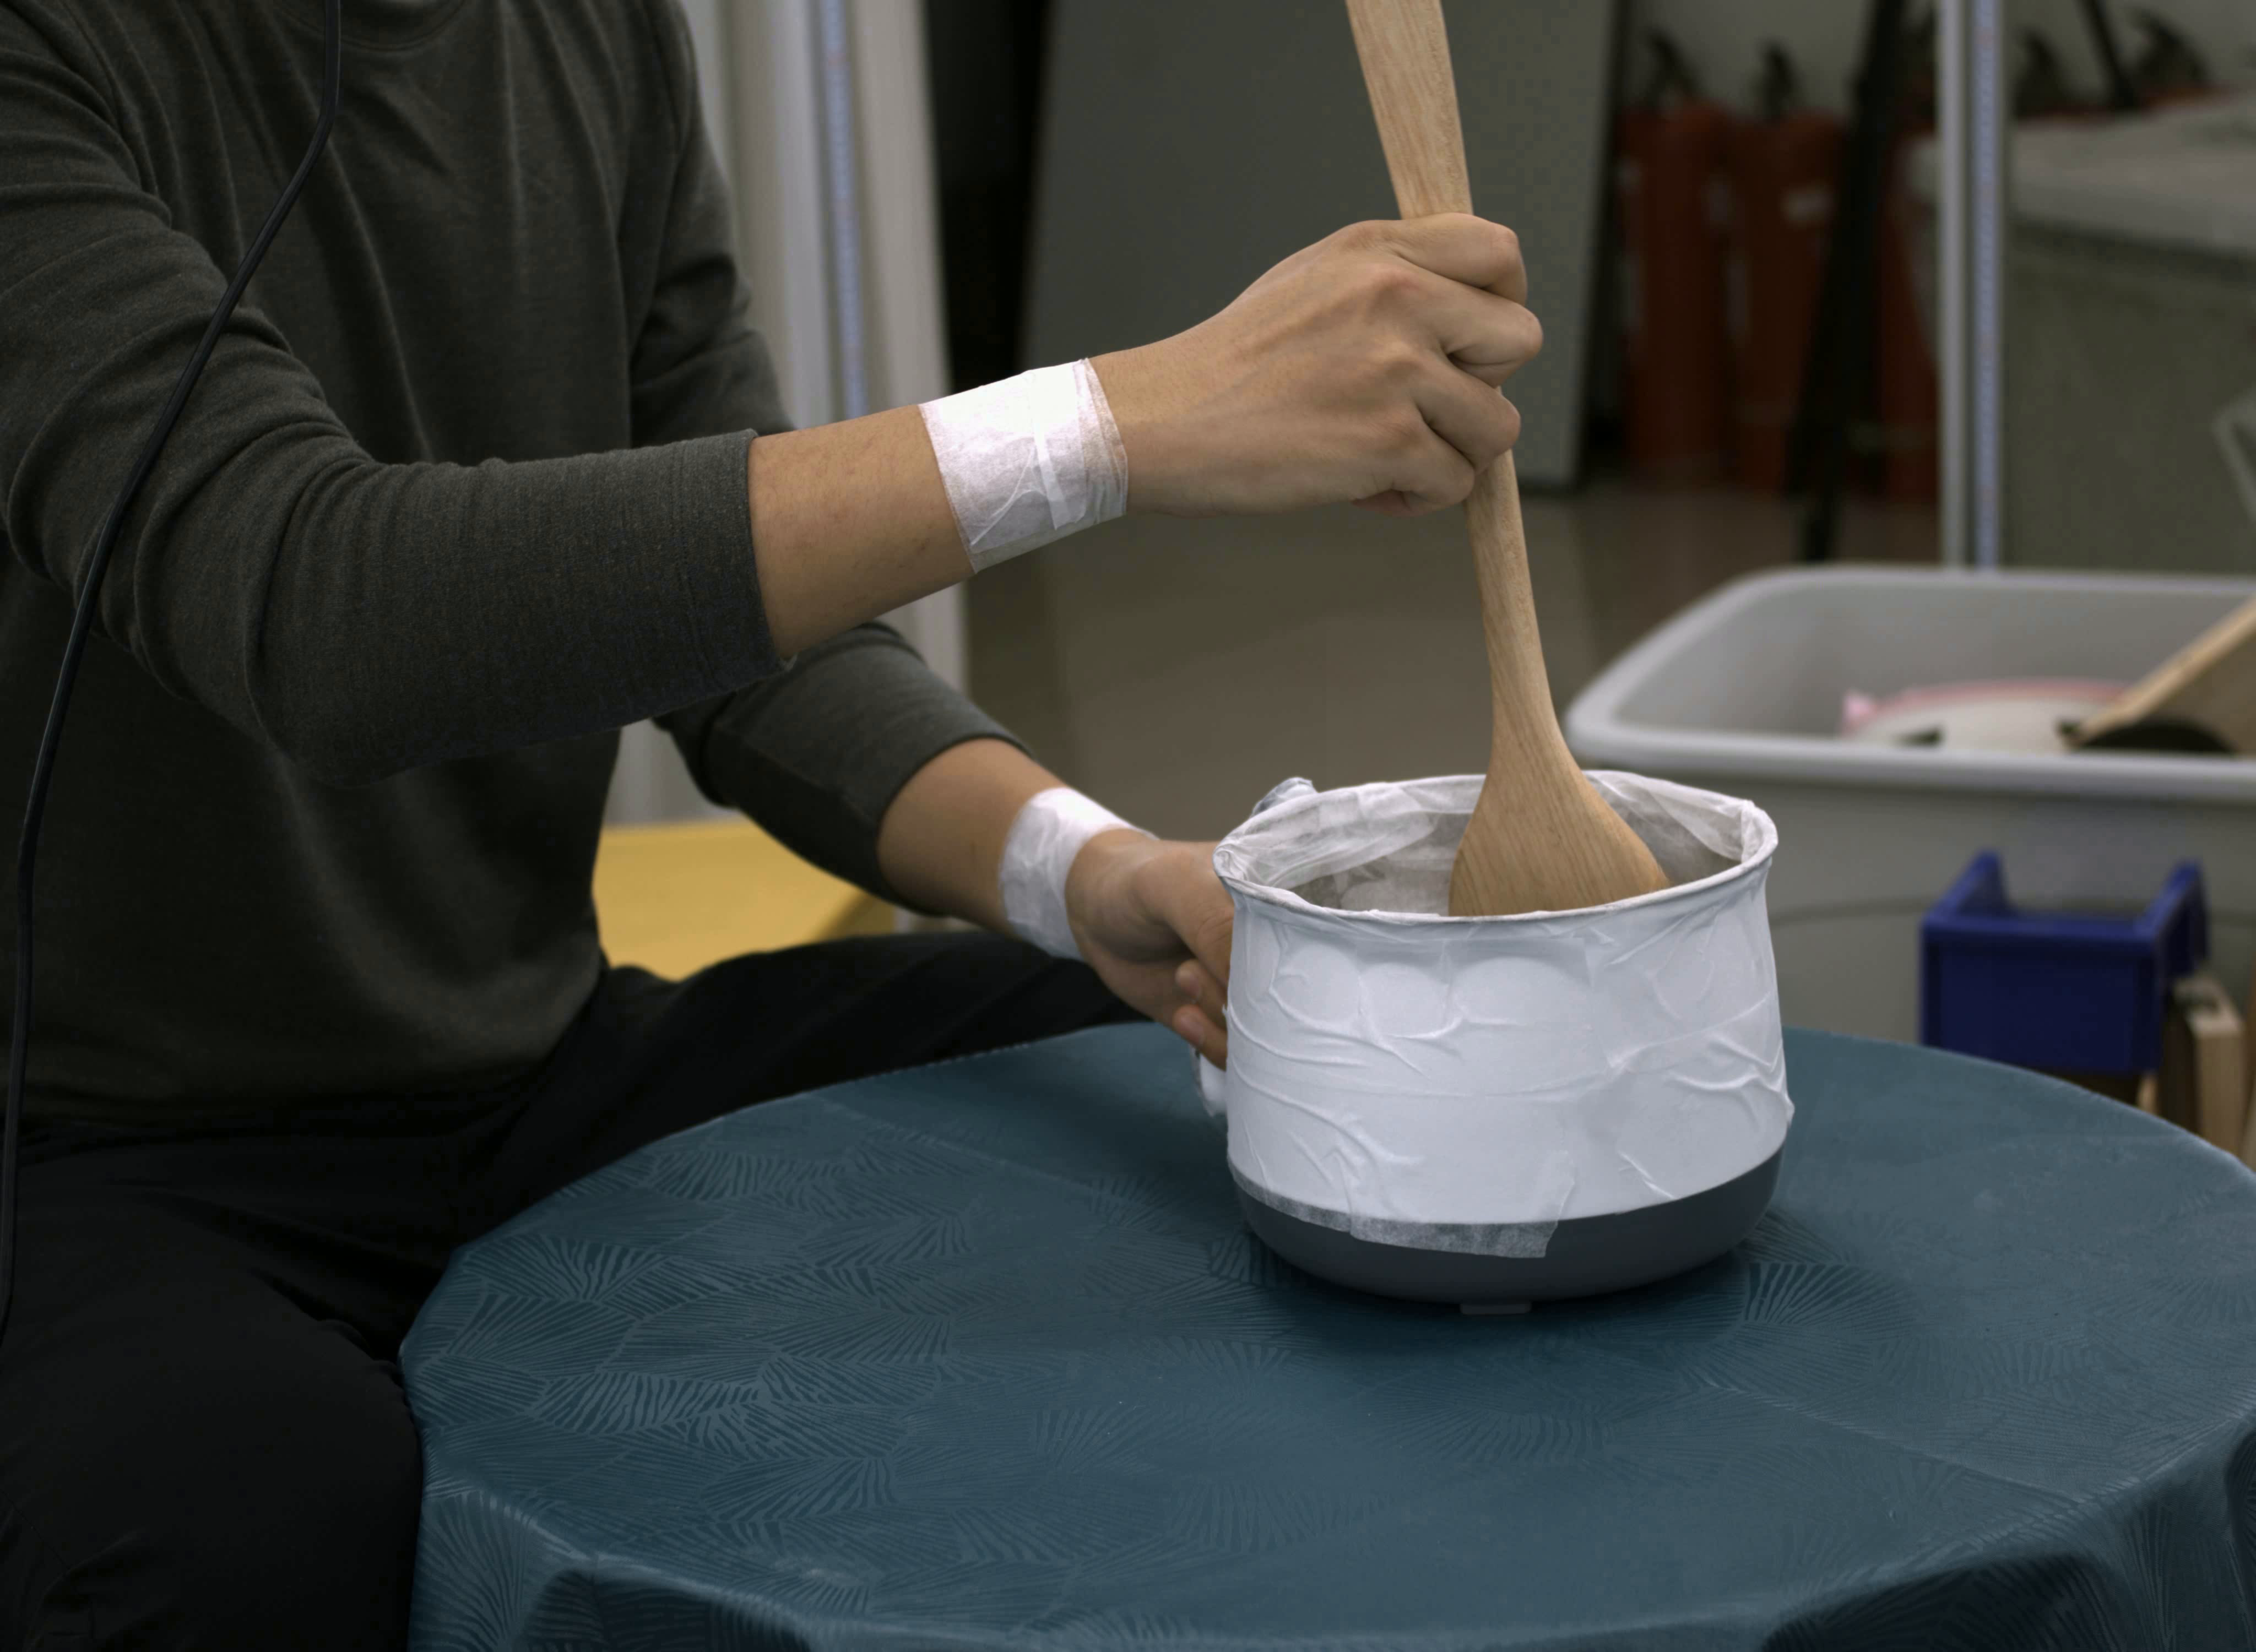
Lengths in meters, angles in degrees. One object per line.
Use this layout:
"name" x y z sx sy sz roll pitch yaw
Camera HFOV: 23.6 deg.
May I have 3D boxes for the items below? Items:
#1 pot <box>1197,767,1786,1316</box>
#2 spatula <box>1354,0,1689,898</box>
"pot" 0.100 0.061 1.703 0.175 0.138 0.236 -13 16 -36
"spatula" 0.114 -0.109 1.642 0.096 0.394 0.018 -2 14 38
